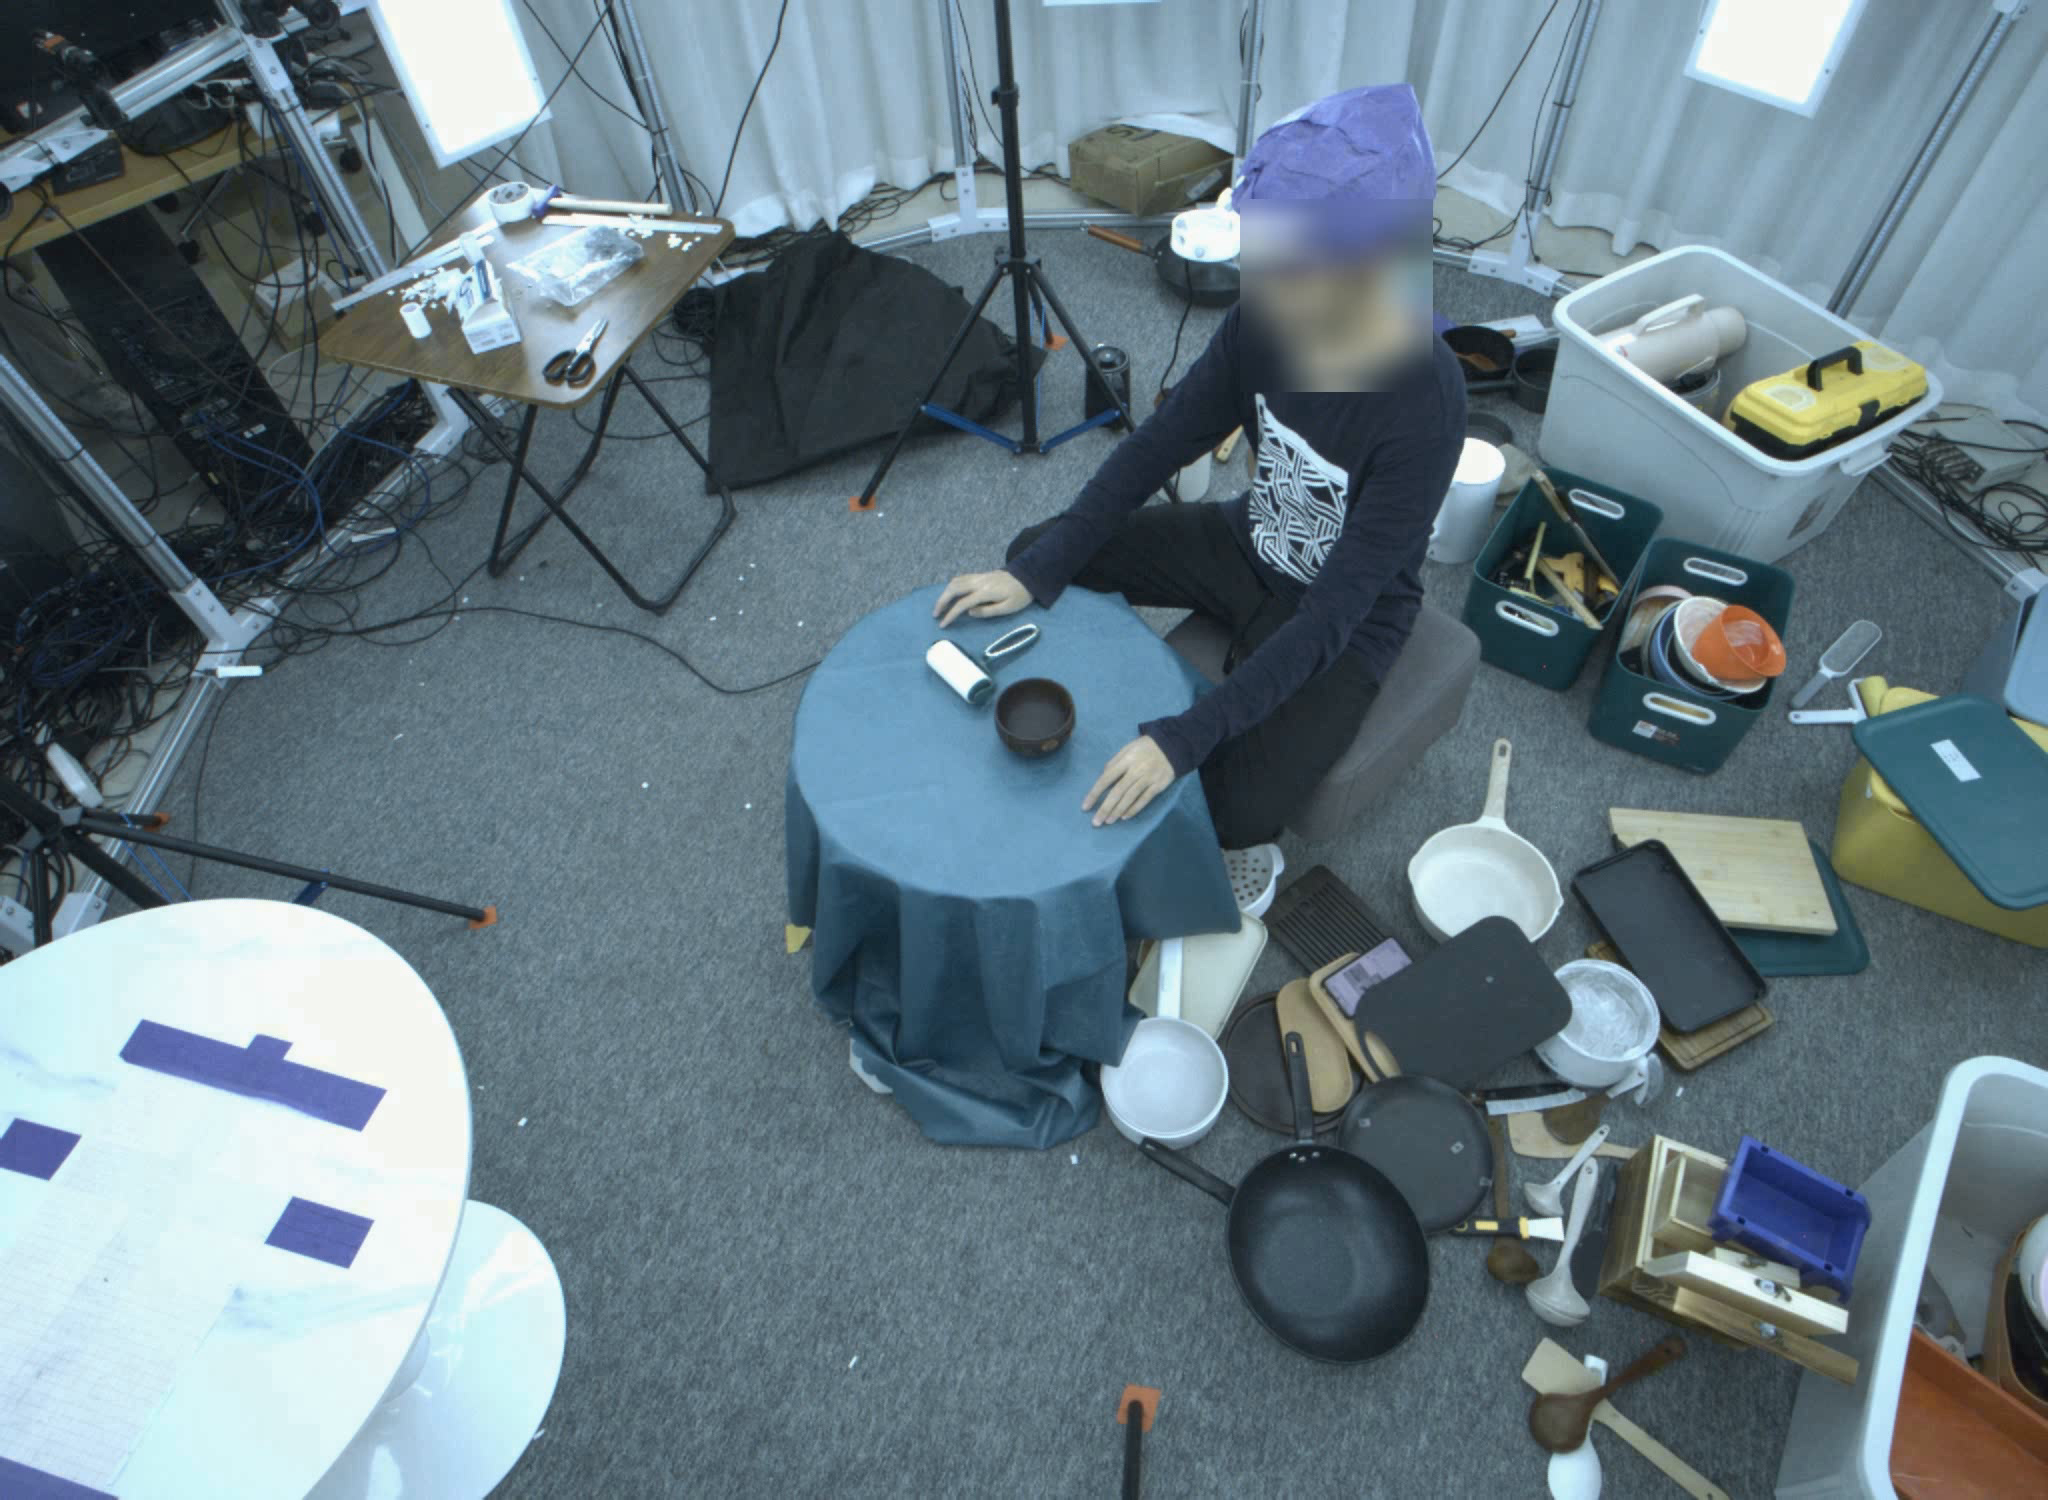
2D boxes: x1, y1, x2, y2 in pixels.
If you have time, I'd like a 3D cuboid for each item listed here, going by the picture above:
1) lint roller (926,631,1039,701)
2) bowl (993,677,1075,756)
[{"bbox_3d":[-0.048,-0.153,1.882,0.182,0.049,0.132,-32,59,-25],"label":"lint roller"},{"bbox_3d":[0.015,-0.041,1.779,0.118,0.070,0.117,0,52,1],"label":"bowl"}]
